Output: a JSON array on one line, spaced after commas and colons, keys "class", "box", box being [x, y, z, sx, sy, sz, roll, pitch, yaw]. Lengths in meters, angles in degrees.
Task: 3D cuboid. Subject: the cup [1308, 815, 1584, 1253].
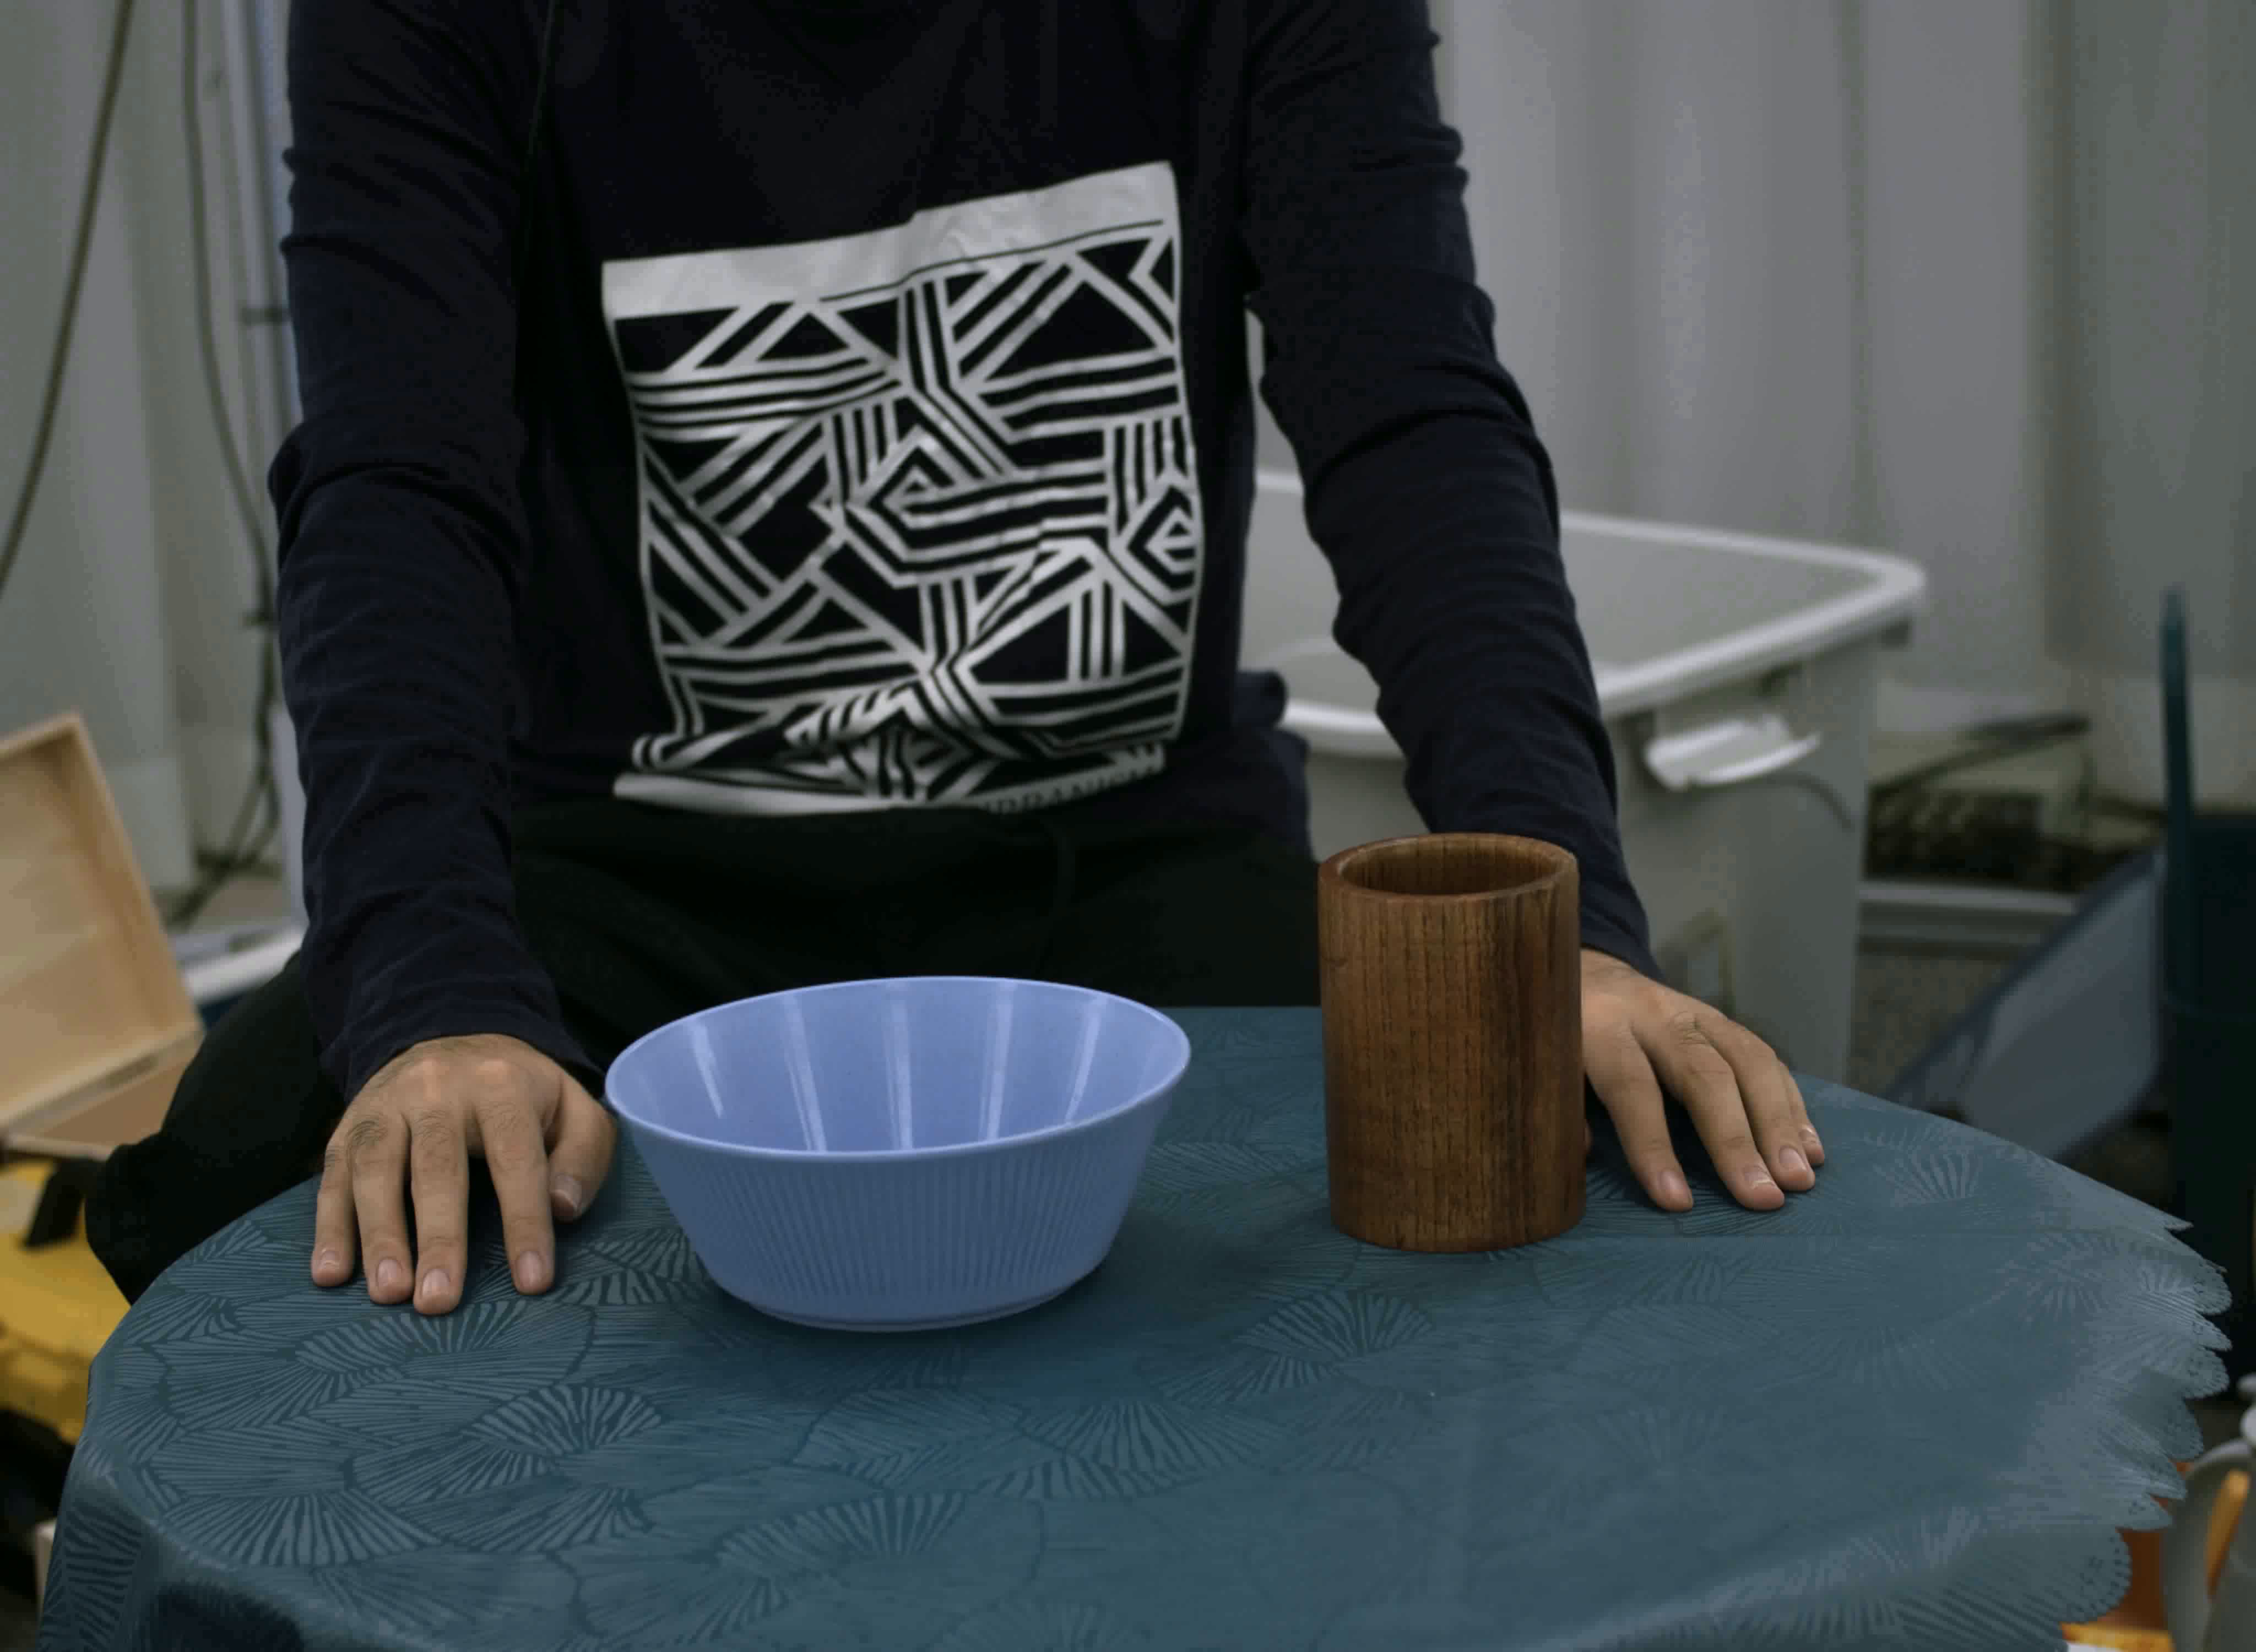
[{"class": "cup", "box": [0.097, 0.063, 1.667, 0.087, 0.118, 0.088, -2, 12, 0]}]

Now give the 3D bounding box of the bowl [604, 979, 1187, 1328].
[{"class": "bowl", "box": [-0.068, 0.101, 1.645, 0.175, 0.070, 0.177, -2, 14, 0]}]
